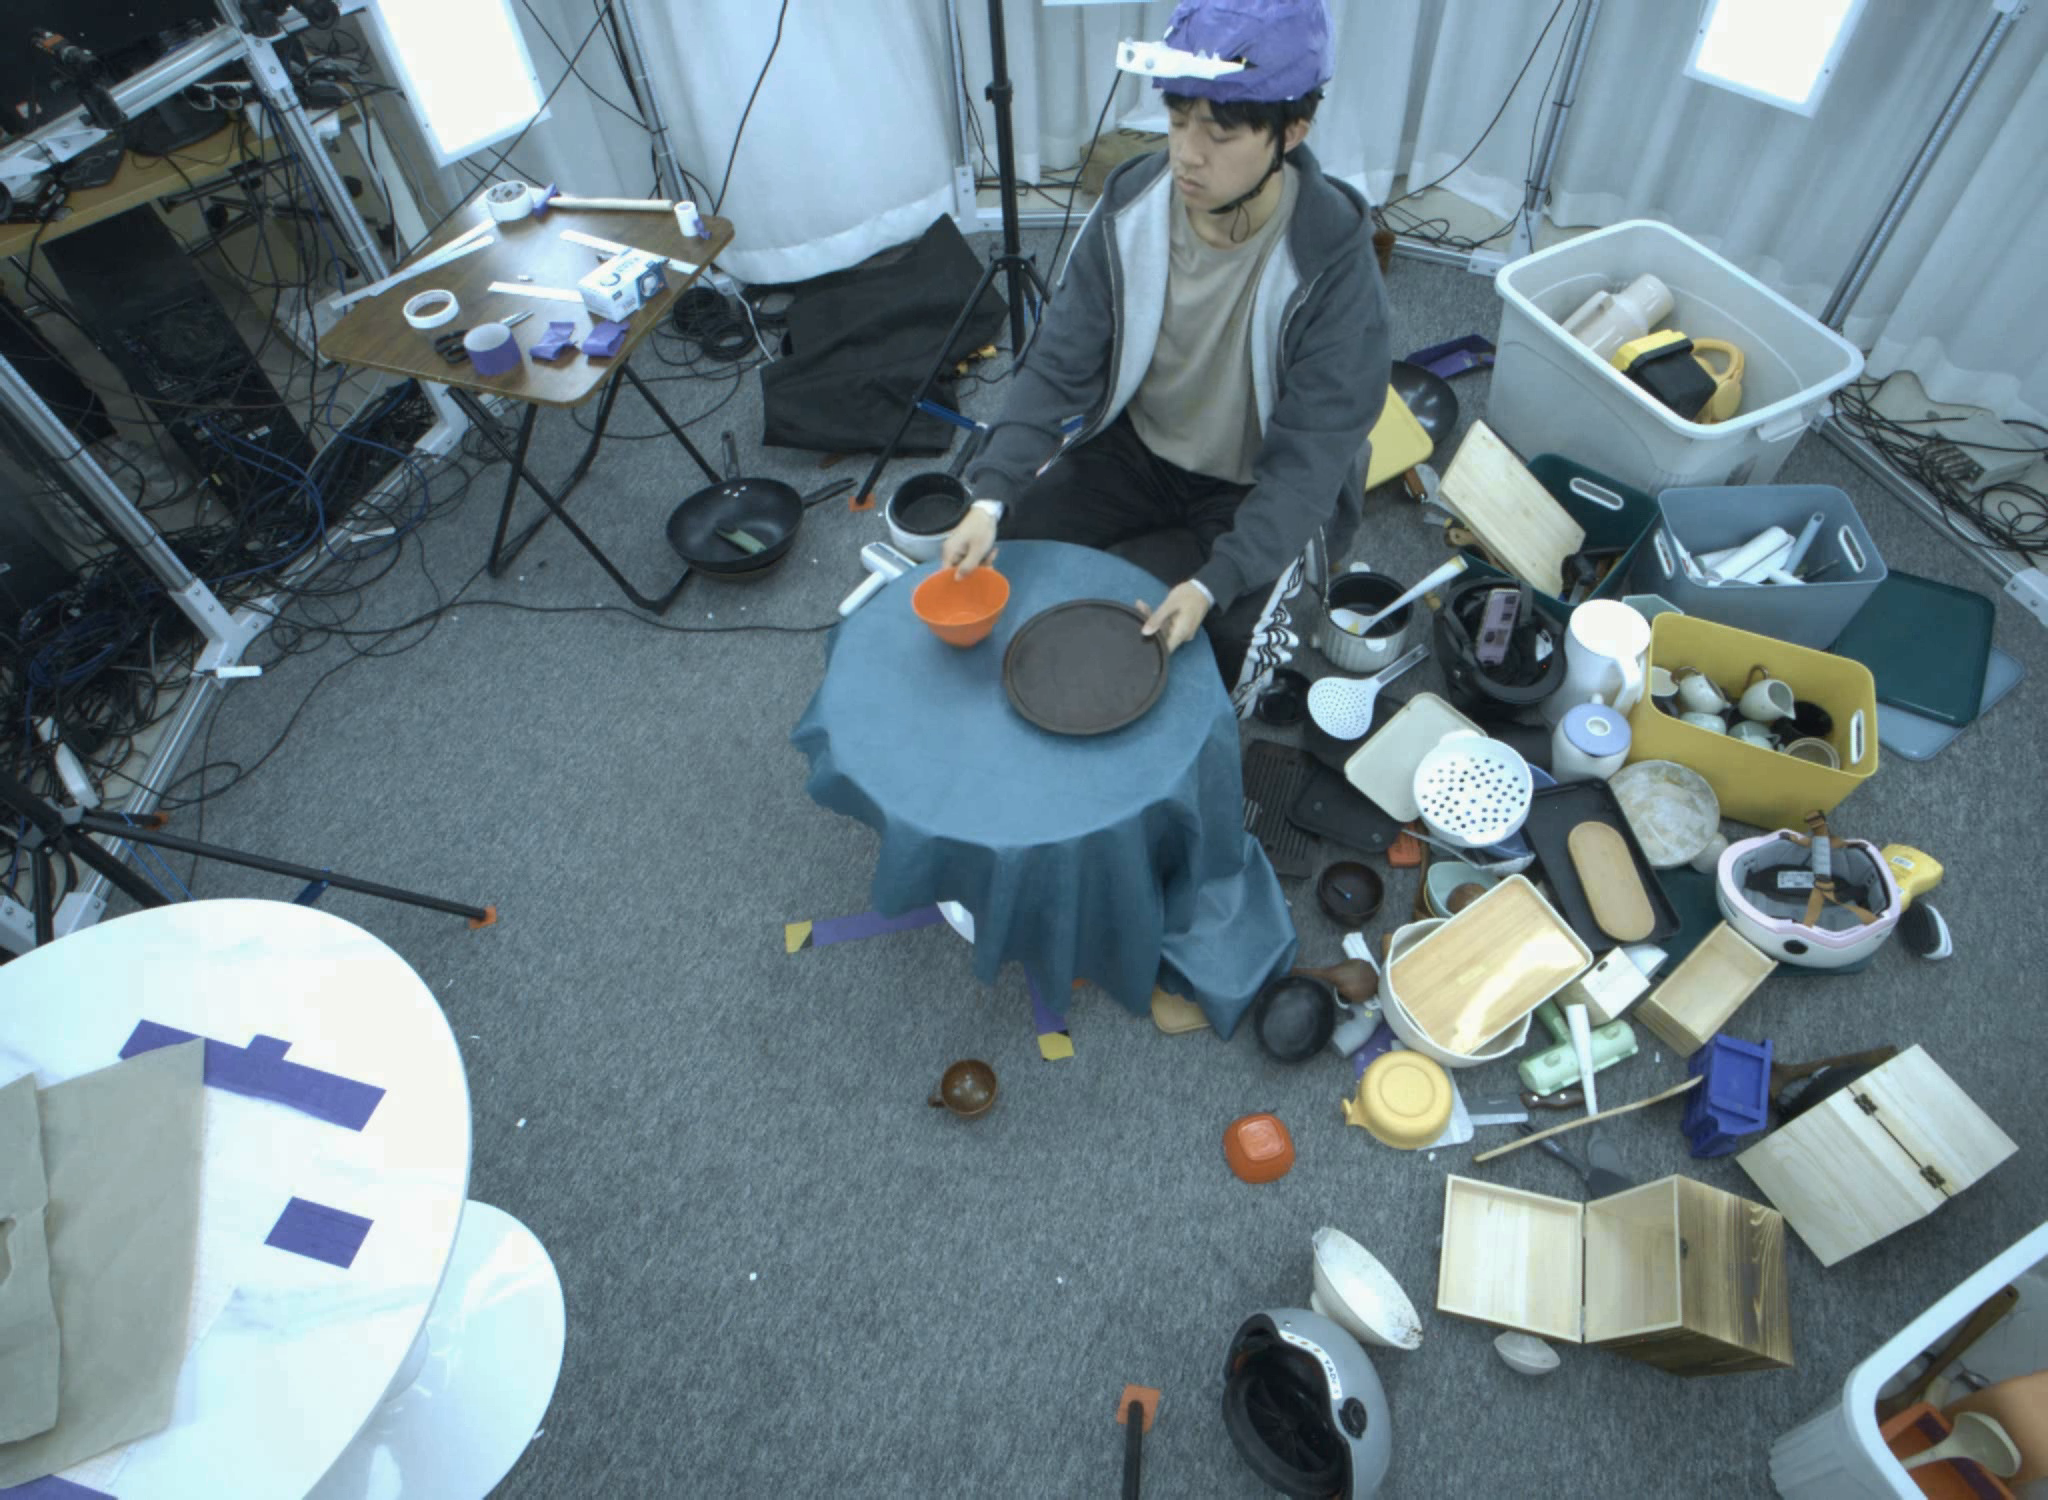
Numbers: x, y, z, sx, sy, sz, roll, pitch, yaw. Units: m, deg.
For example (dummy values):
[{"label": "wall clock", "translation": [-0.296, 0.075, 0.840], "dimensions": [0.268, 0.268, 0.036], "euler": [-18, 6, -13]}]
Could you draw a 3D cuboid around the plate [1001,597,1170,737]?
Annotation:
[{"label": "plate", "translation": [0.092, -0.125, 1.844], "dimensions": [0.254, 0.029, 0.252], "euler": [-3, 58, 6]}]

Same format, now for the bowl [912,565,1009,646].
[{"label": "bowl", "translation": [-0.093, -0.208, 1.867], "dimensions": [0.148, 0.106, 0.146], "euler": [-2, 54, 4]}]
